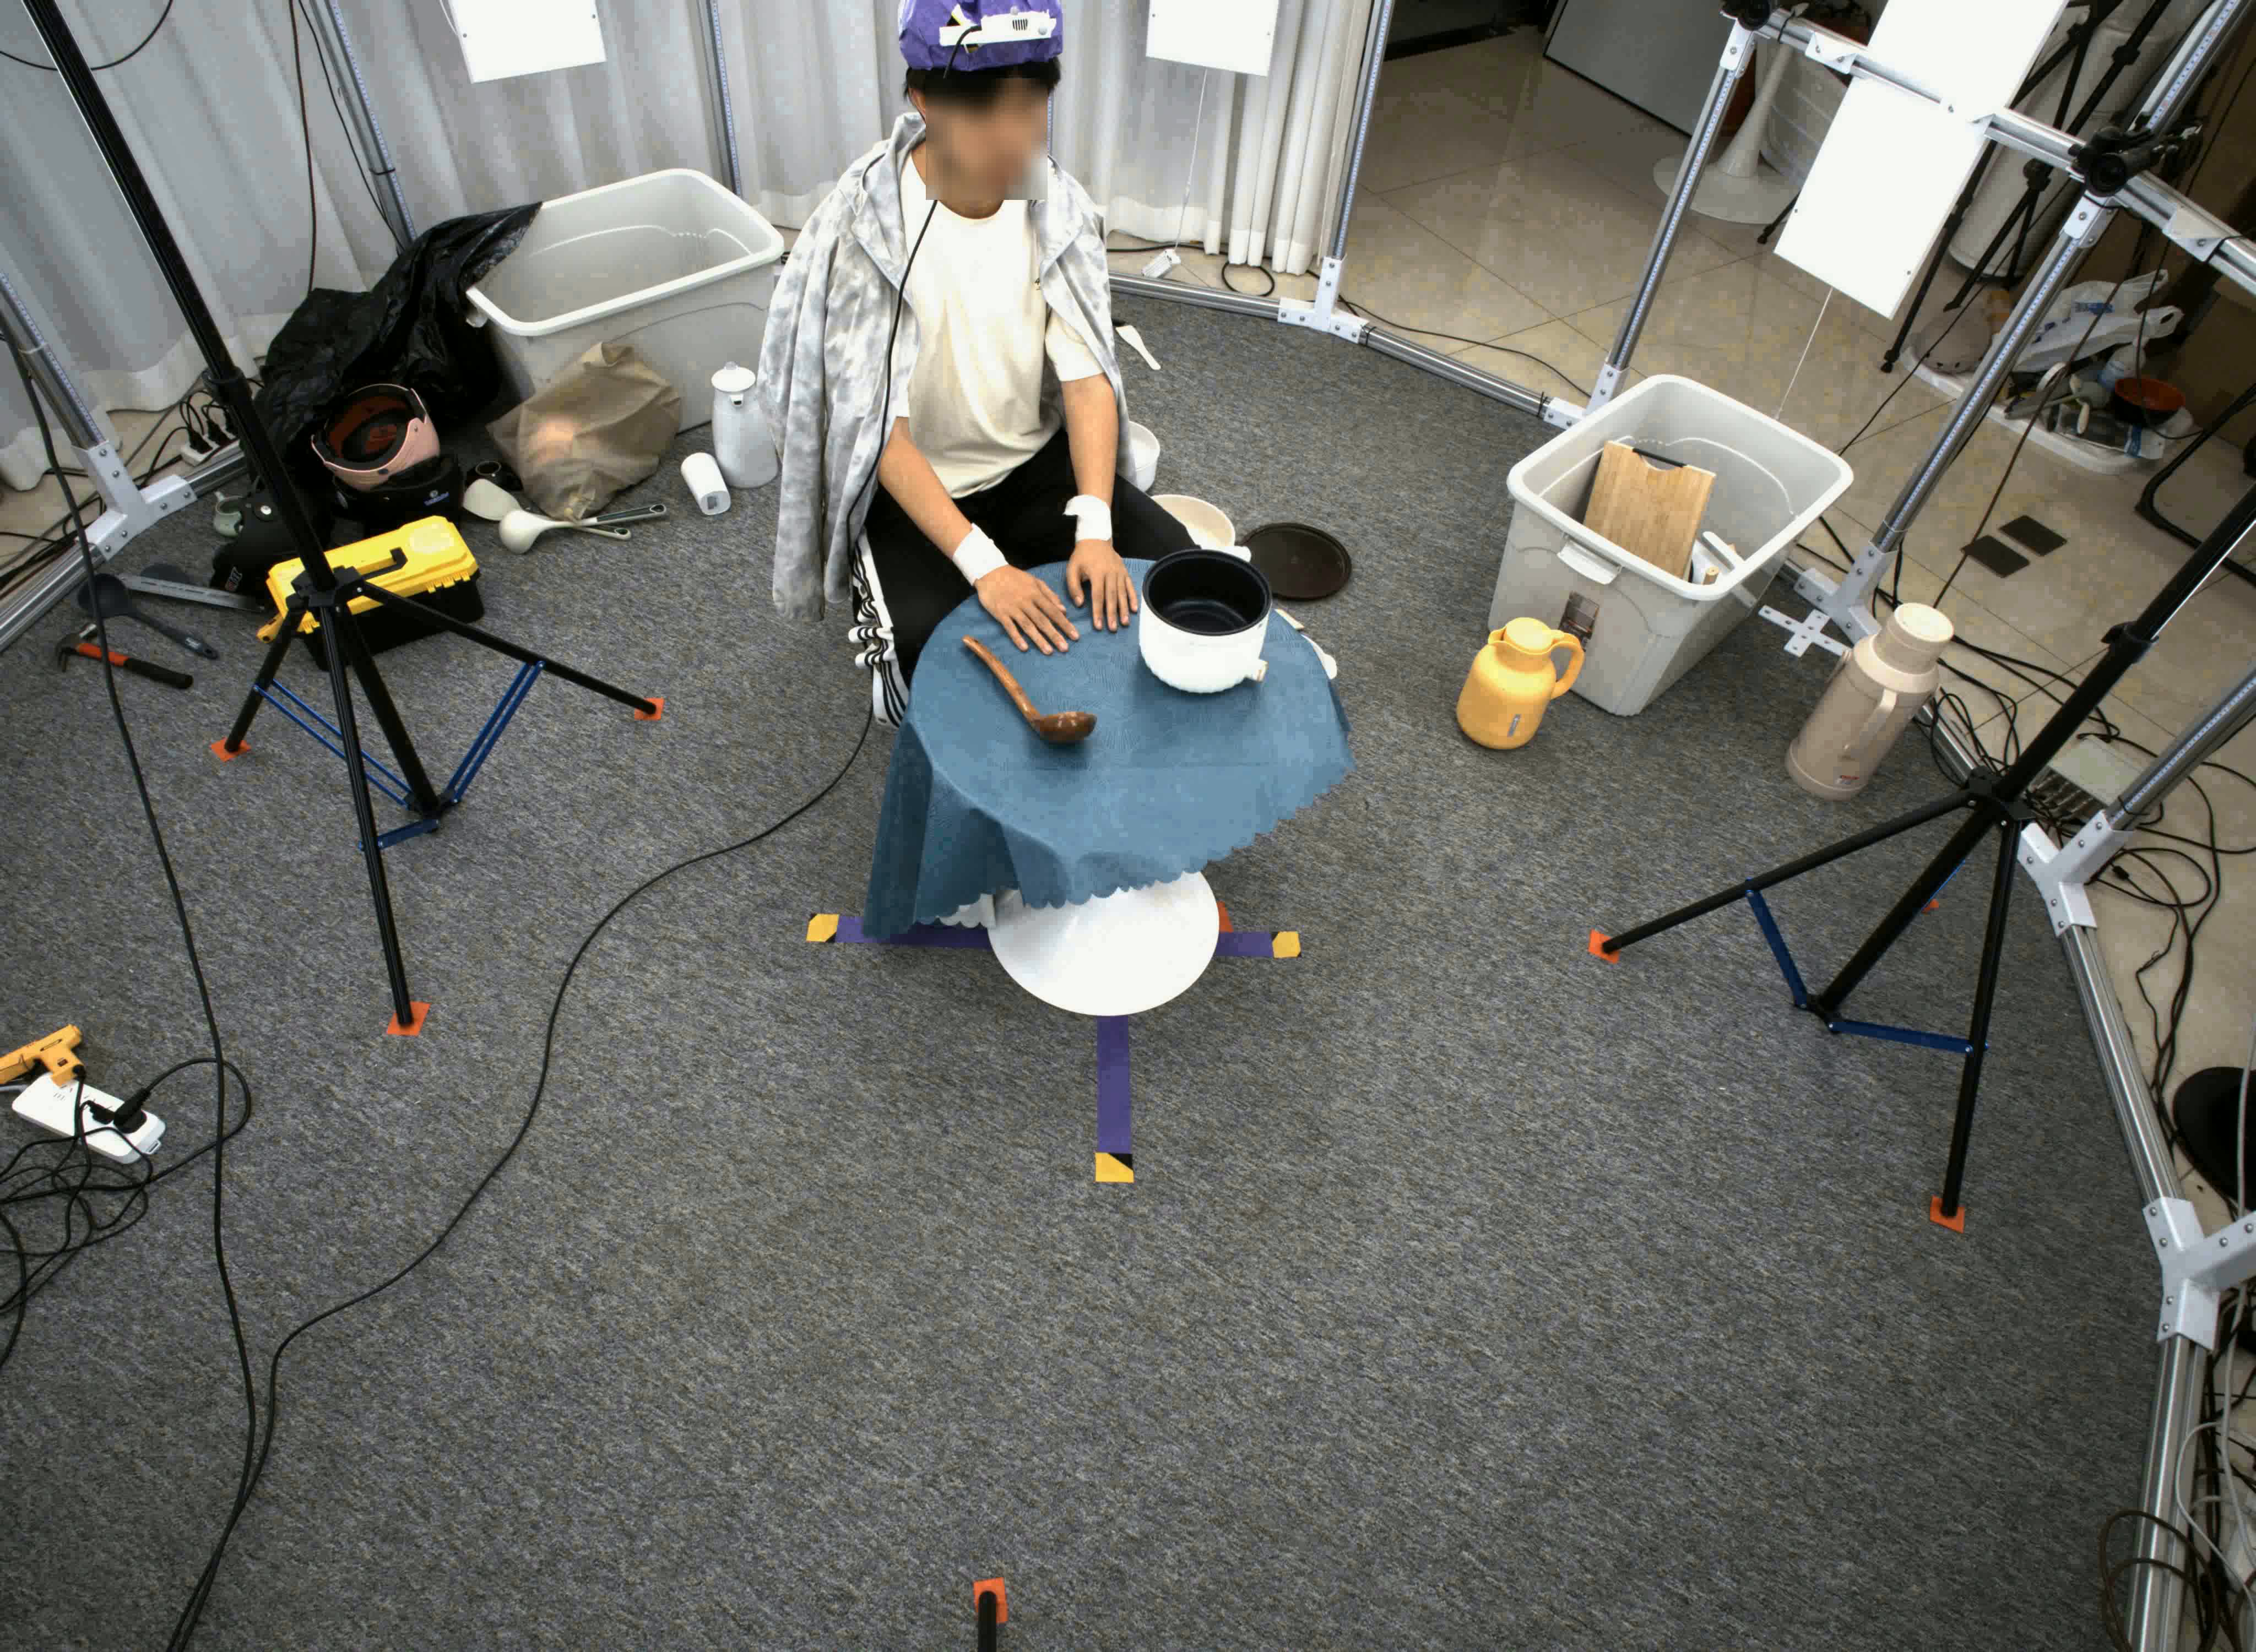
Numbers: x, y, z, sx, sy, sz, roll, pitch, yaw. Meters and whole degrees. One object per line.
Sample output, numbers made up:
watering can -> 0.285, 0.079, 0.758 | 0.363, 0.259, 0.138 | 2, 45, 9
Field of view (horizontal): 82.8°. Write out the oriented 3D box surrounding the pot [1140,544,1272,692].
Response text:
pot -> 0.111, -0.284, 1.826 | 0.192, 0.139, 0.244 | 21, 51, 18

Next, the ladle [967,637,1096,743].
ladle -> -0.140, -0.206, 1.785 | 0.081, 0.076, 0.280 | 17, 28, -50
